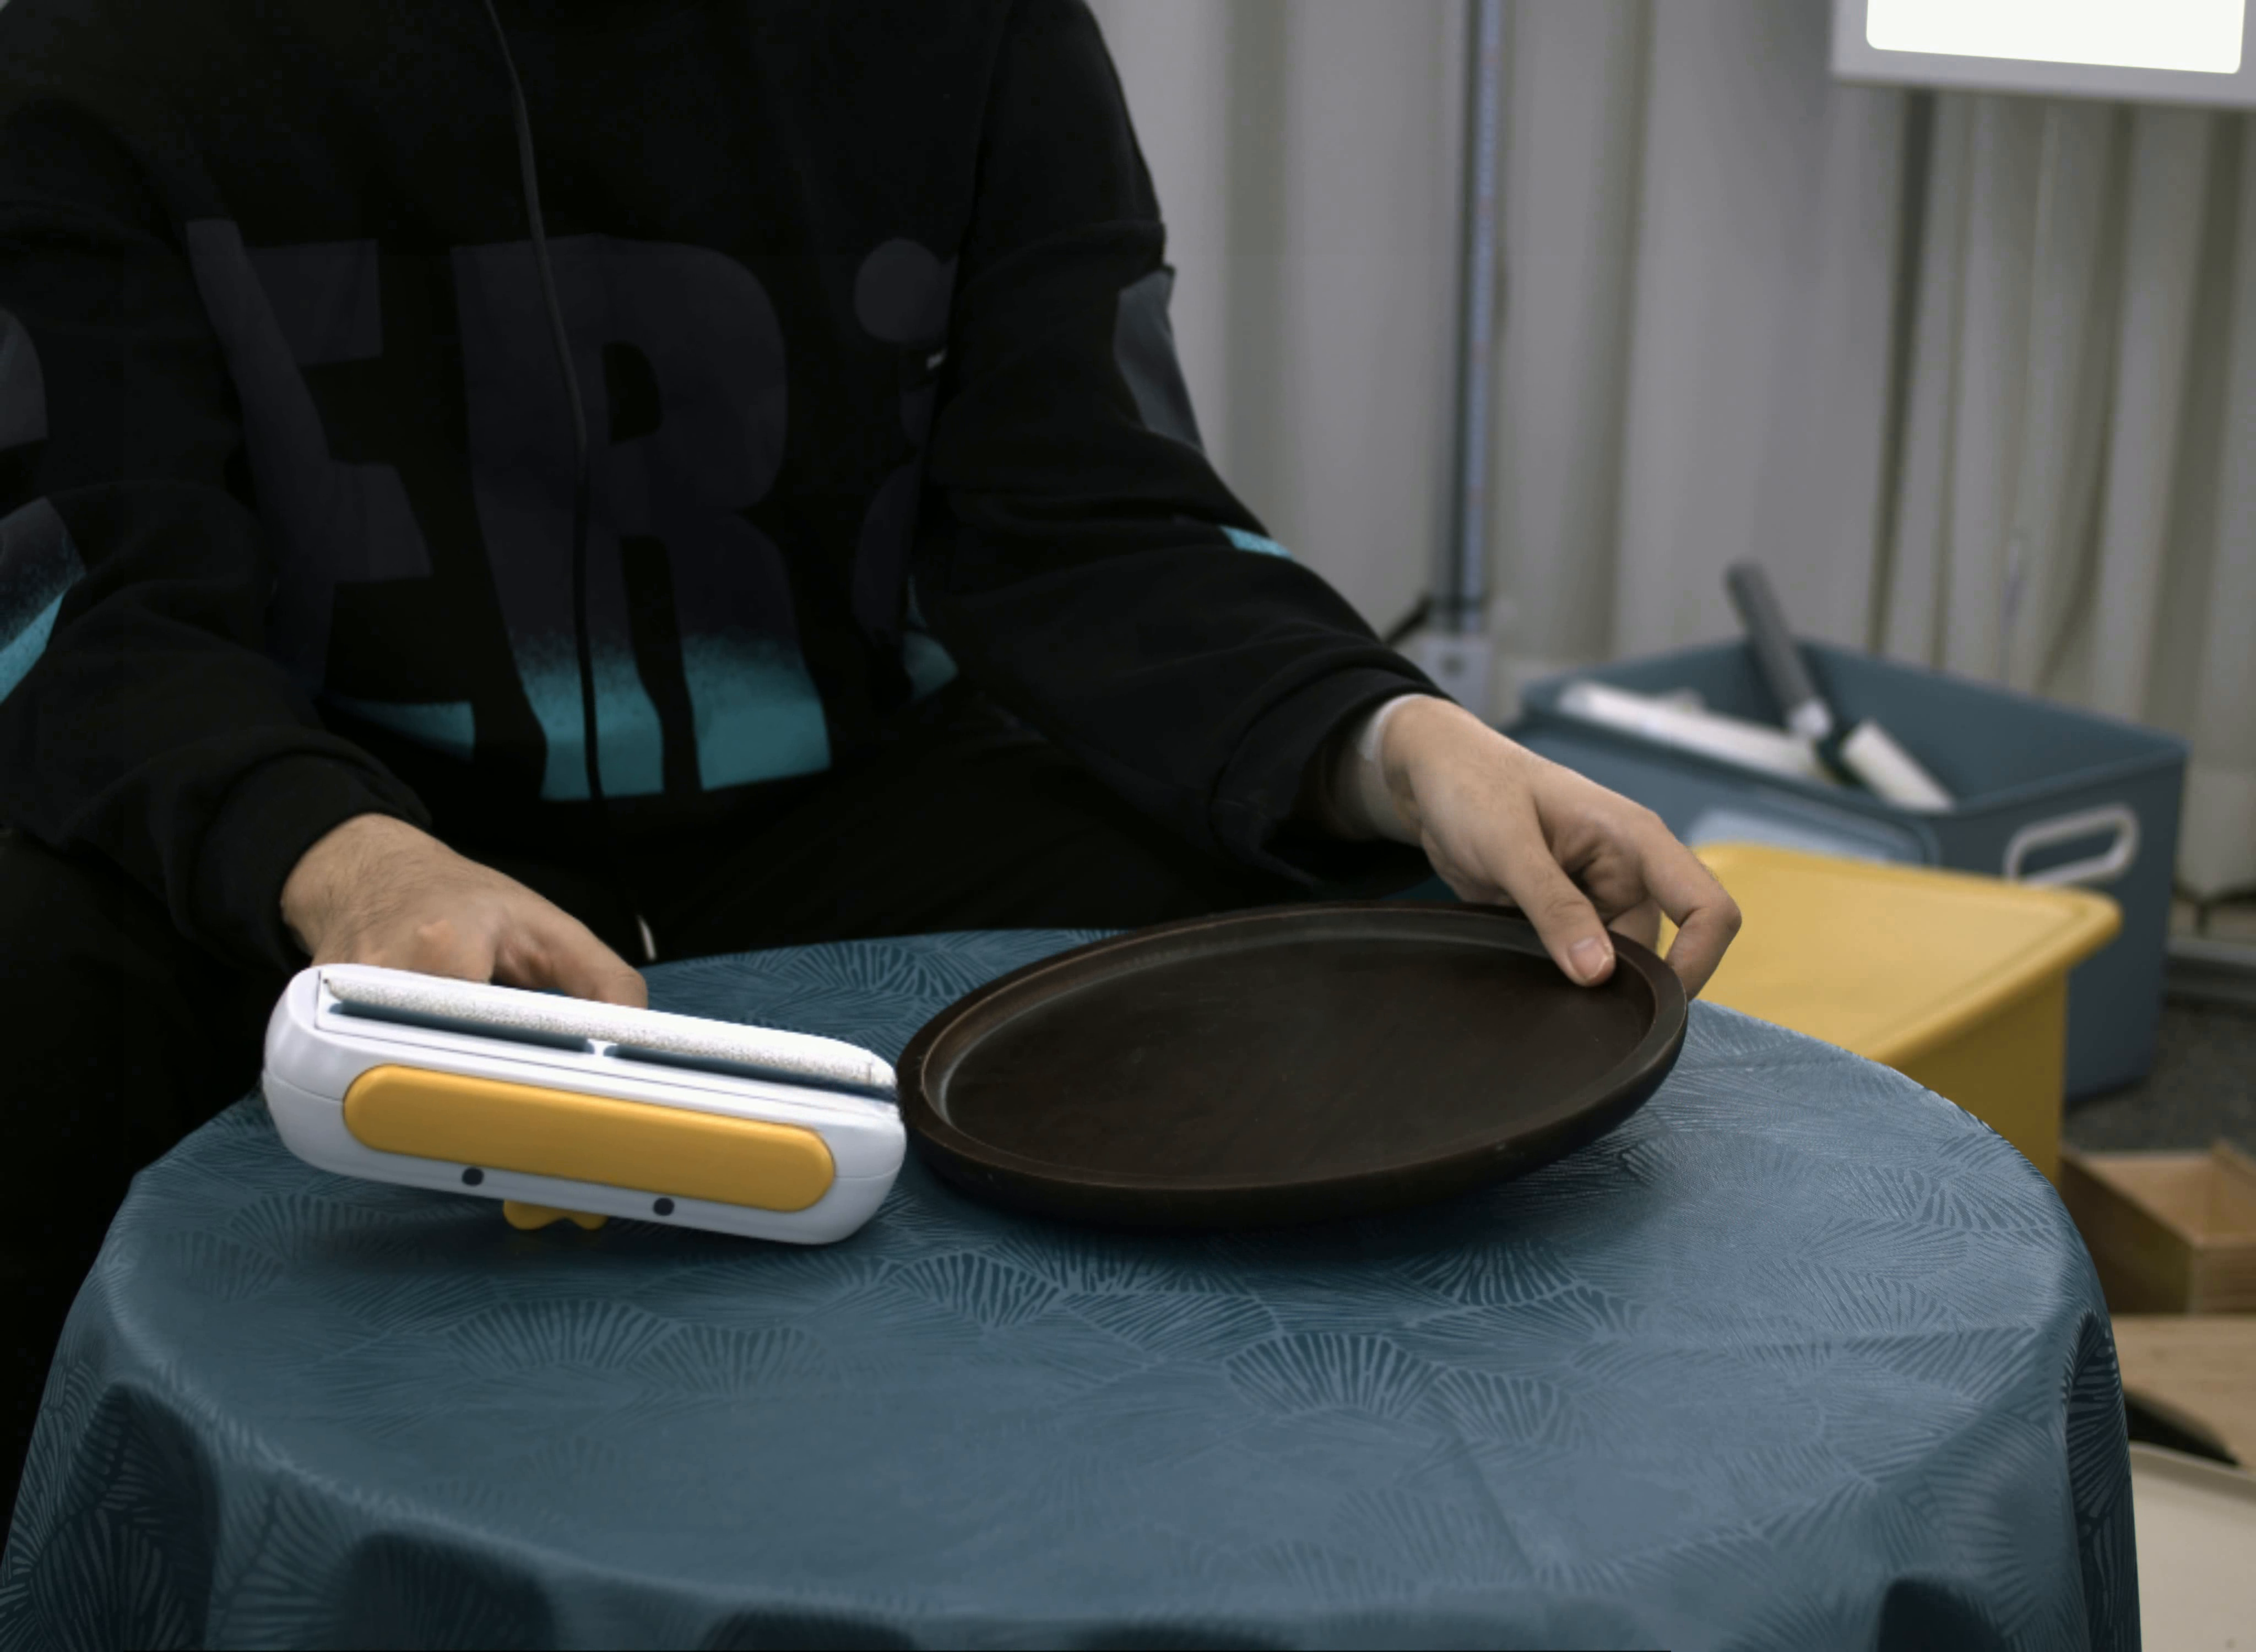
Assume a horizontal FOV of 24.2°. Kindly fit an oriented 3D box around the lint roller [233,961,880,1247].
[{"bbox_3d":[-0.174,0.075,1.622,0.193,0.074,0.191,6,13,-6],"label":"lint roller"}]

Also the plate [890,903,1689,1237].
[{"bbox_3d":[0.051,0.075,1.663,0.254,0.029,0.253,-6,16,2],"label":"plate"}]
